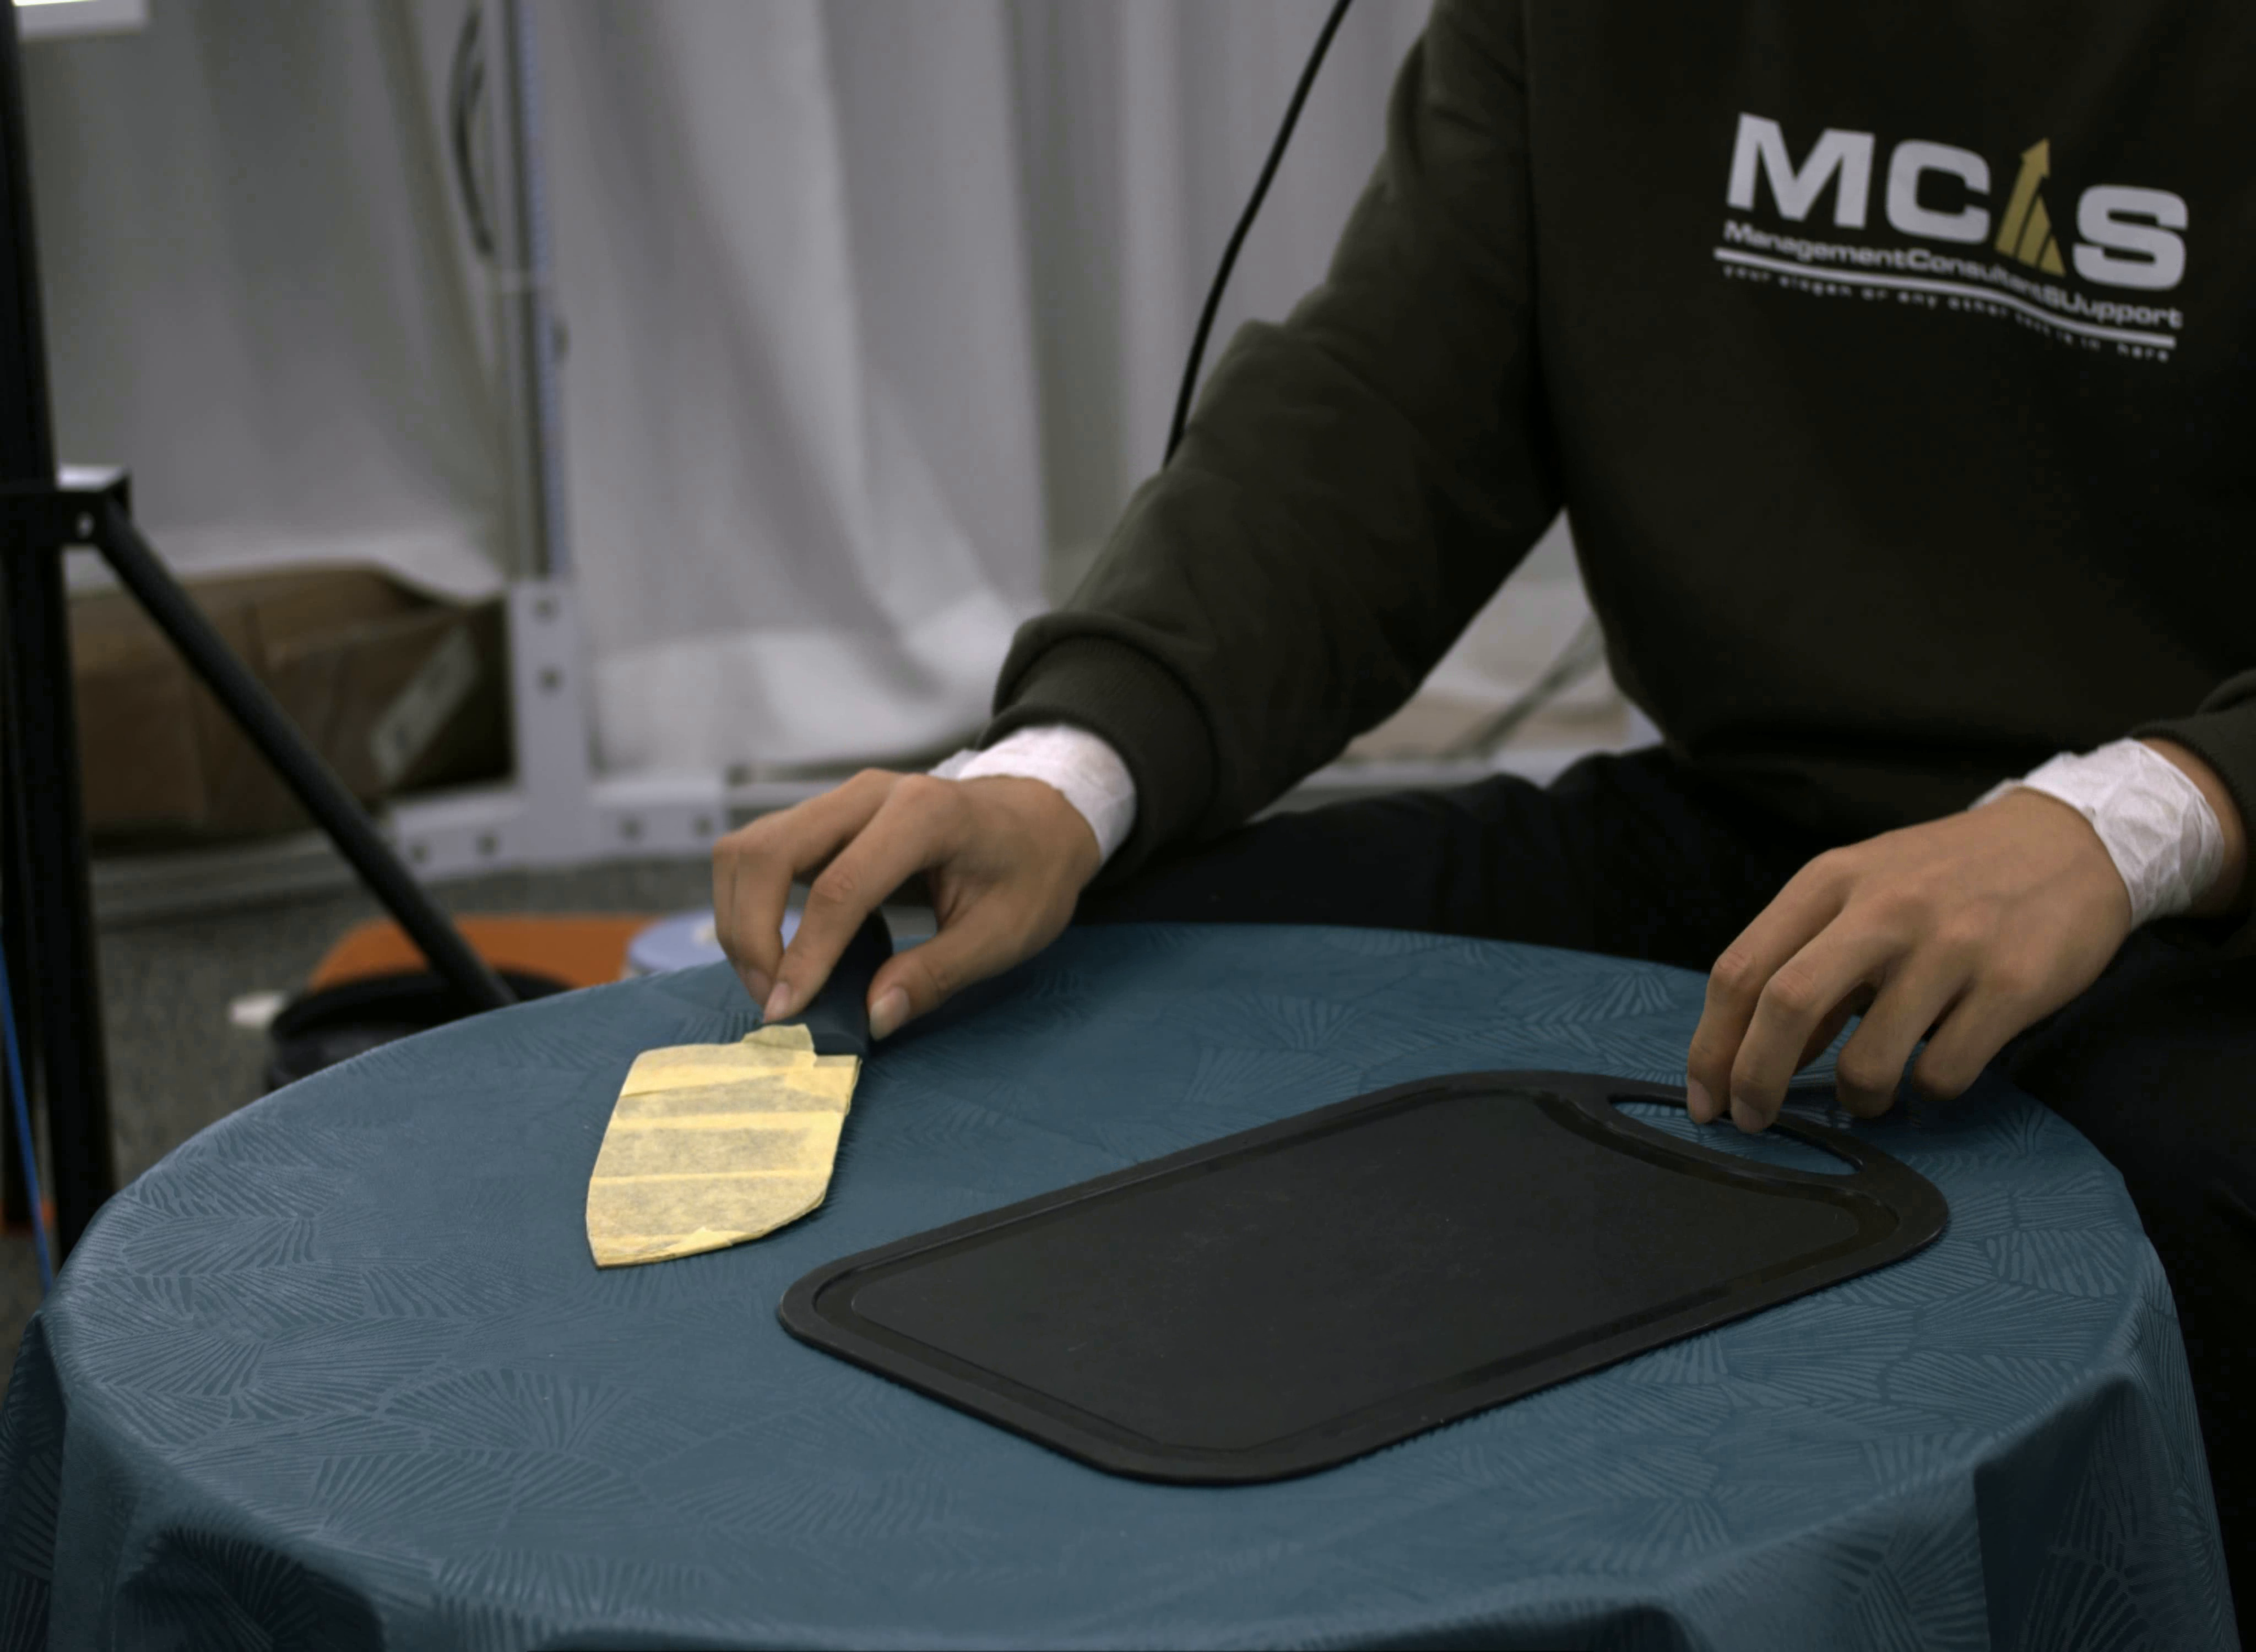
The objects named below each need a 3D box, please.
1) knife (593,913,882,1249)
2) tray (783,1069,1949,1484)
[{"bbox_3d":[-0.118,0.079,1.657,0.081,0.027,0.289,1,17,6],"label":"knife"},{"bbox_3d":[0.075,0.118,1.499,0.318,0.010,0.216,-14,20,-36],"label":"tray"}]
